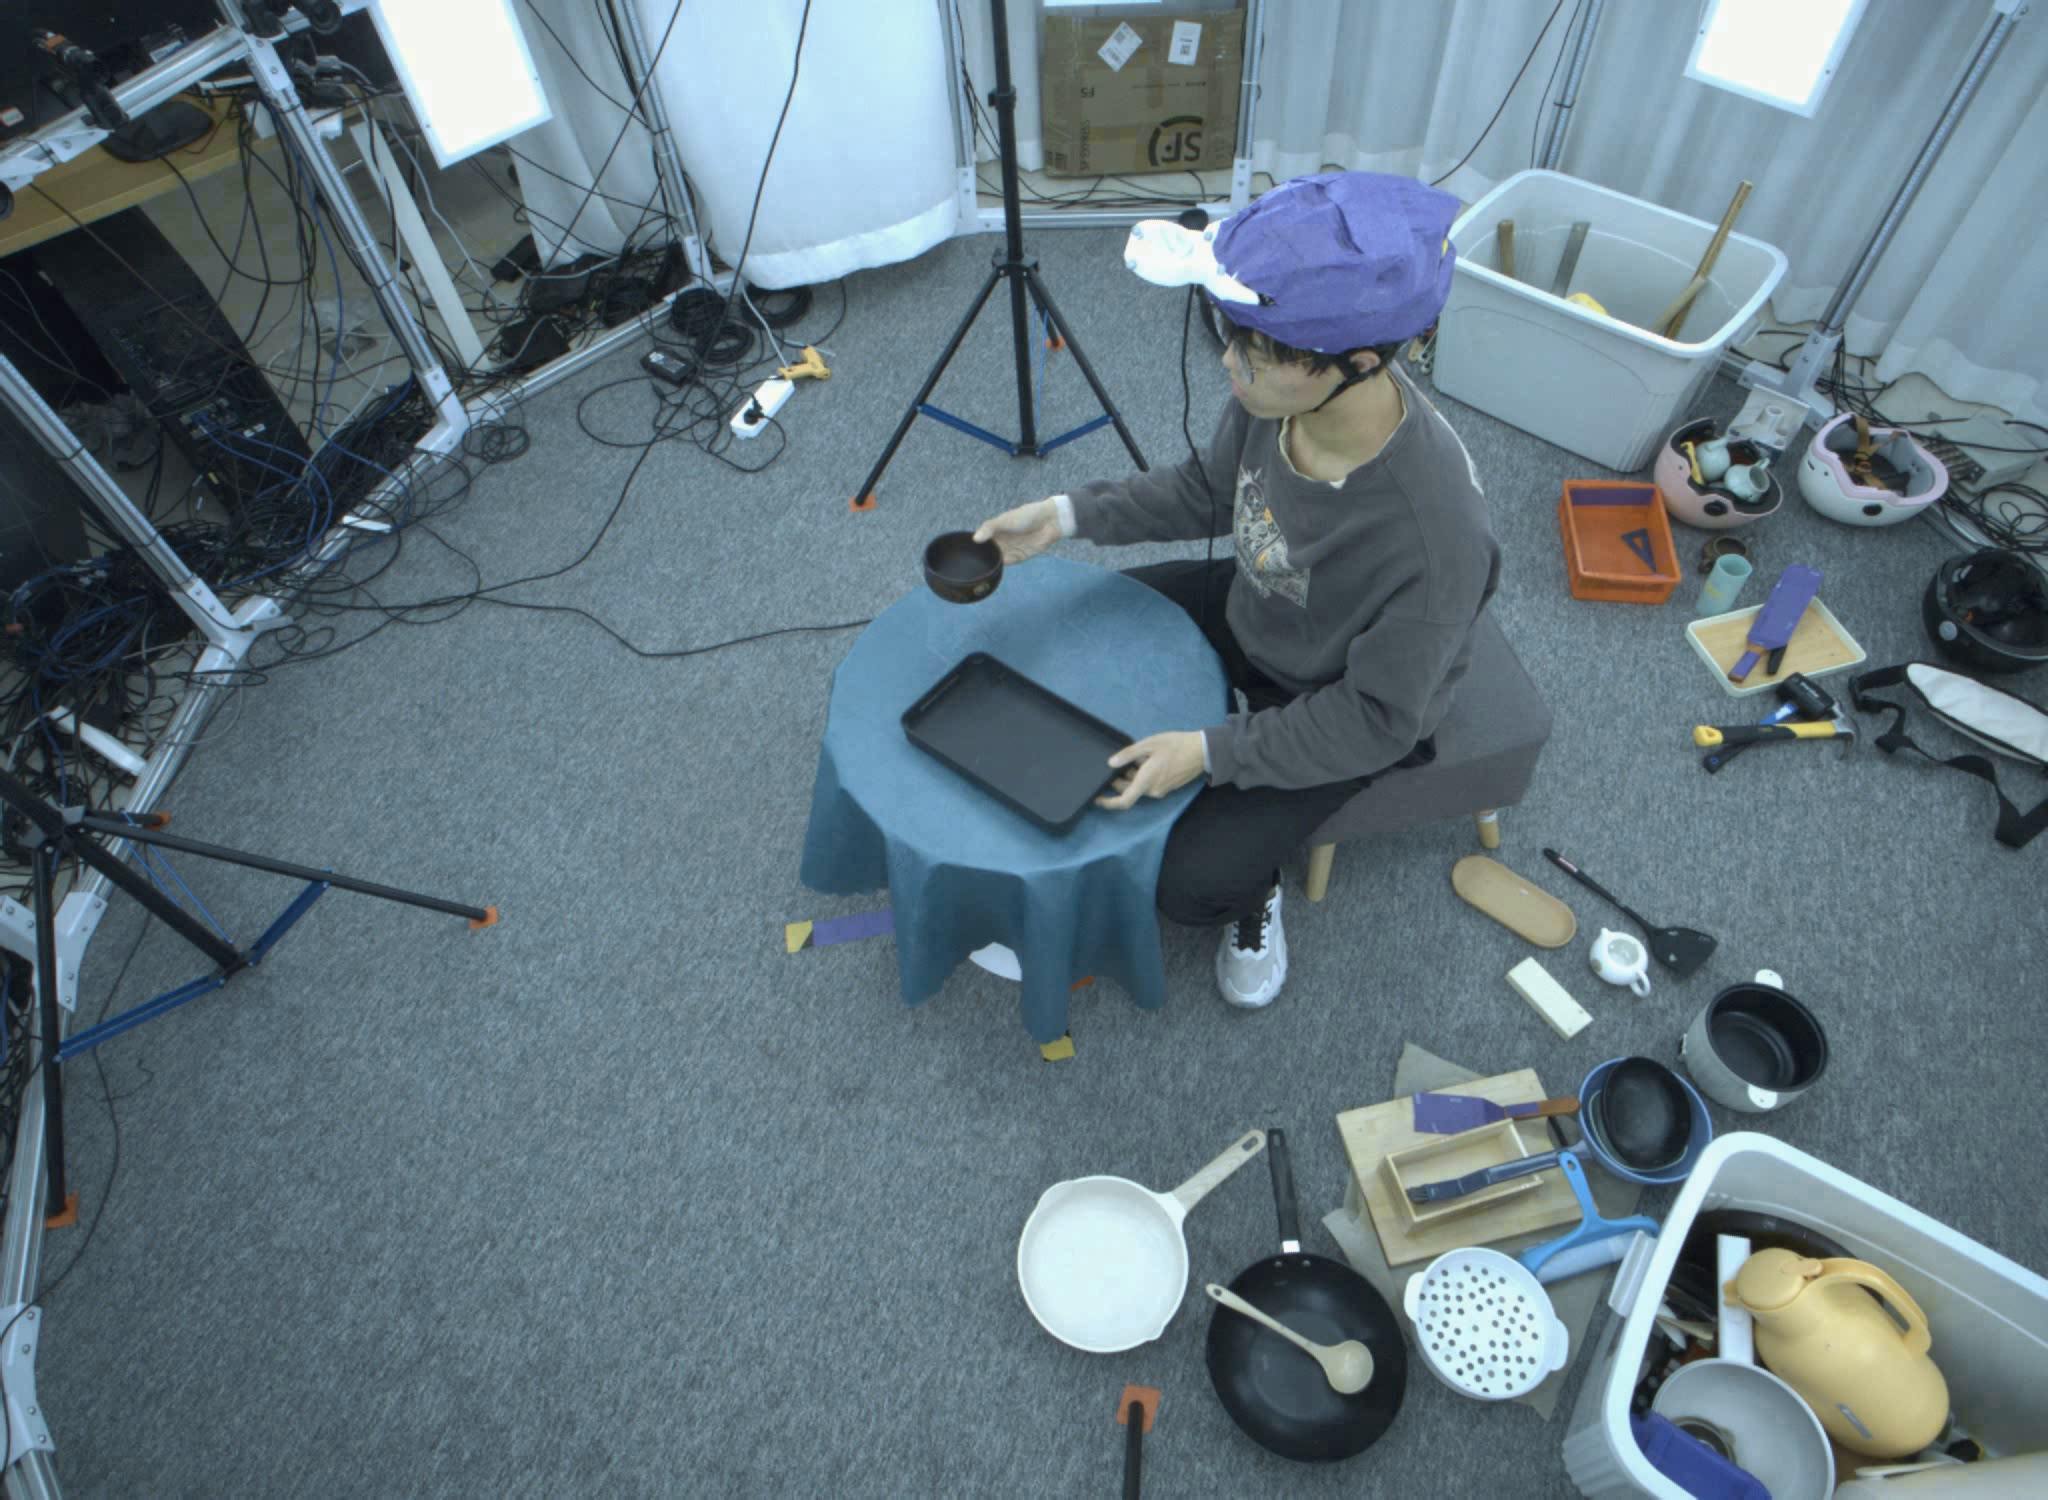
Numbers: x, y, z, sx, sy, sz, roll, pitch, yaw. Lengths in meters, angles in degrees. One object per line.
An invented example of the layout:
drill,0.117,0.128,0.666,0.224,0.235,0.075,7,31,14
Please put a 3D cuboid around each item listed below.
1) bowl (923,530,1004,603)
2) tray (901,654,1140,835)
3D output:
bowl,-0.089,-0.260,1.791,0.118,0.070,0.117,3,49,-2
tray,-0.007,-0.013,1.763,0.312,0.037,0.185,30,60,25
